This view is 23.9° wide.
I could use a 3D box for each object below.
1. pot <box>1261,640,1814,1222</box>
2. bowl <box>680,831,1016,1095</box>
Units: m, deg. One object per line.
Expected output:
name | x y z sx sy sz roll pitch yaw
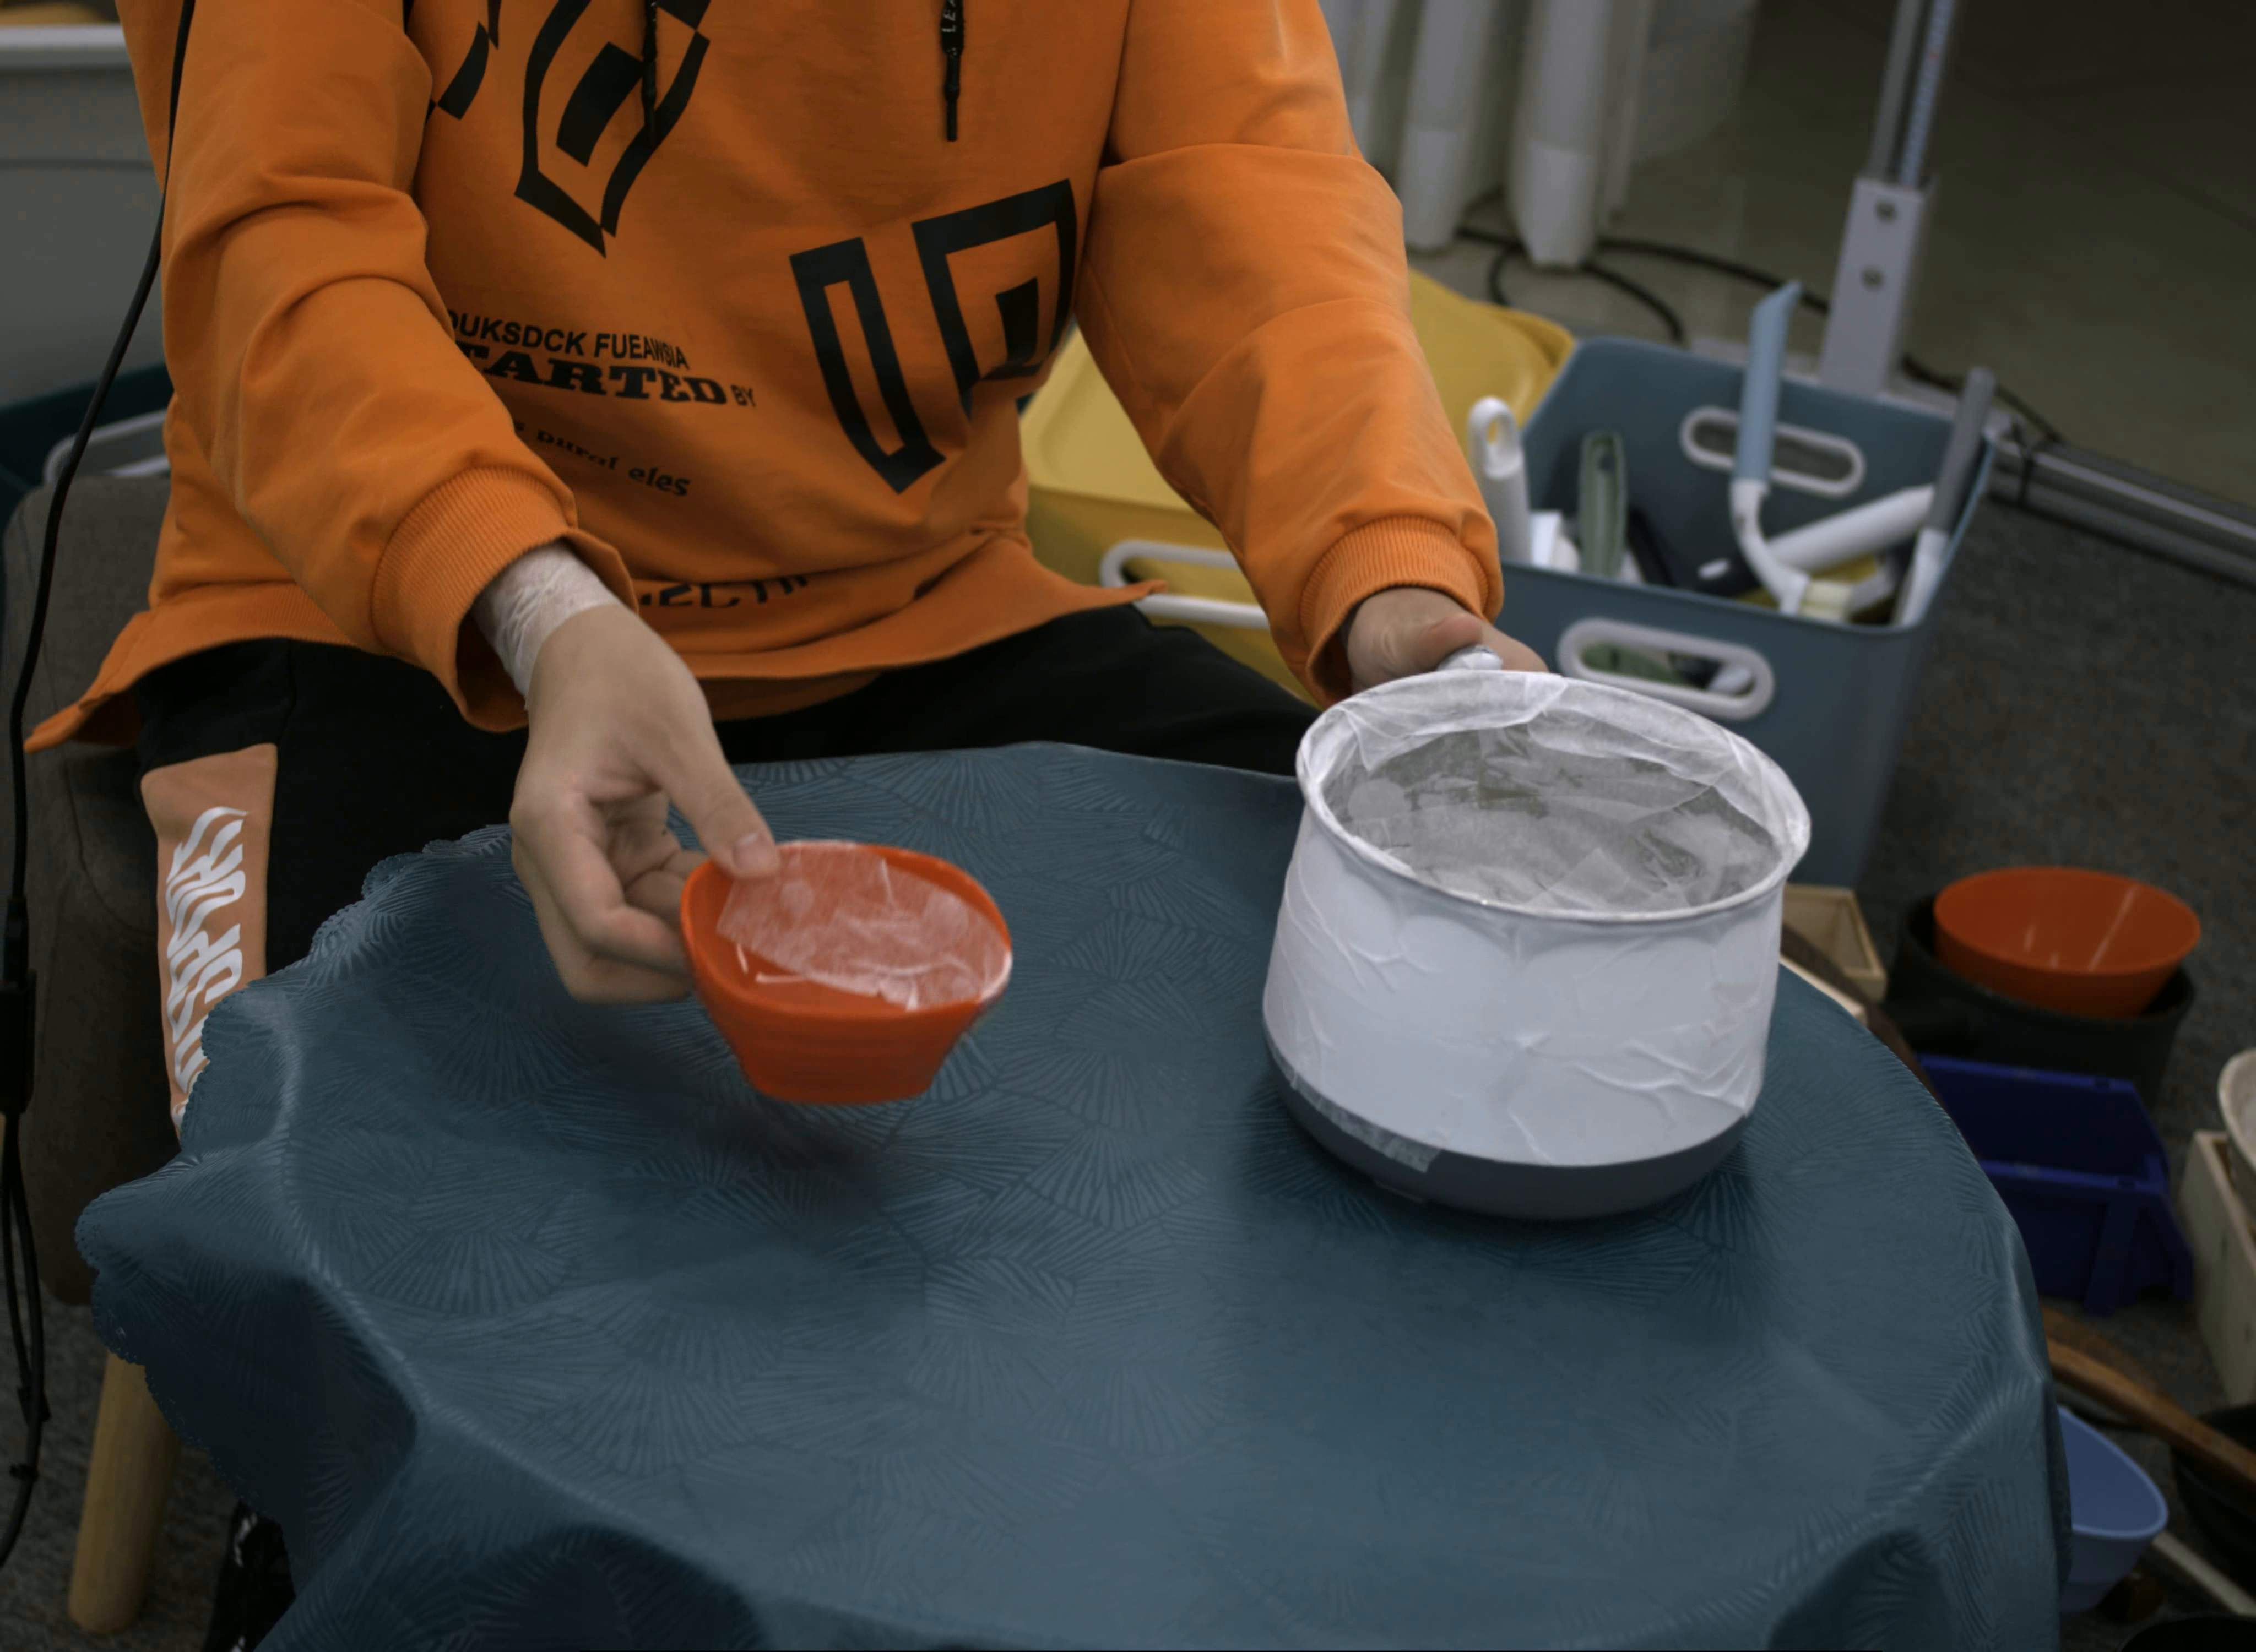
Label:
pot | 0.132 0.029 1.862 0.178 0.136 0.236 0 29 -15
bowl | -0.096 0.050 1.778 0.118 0.051 0.120 5 30 -3
